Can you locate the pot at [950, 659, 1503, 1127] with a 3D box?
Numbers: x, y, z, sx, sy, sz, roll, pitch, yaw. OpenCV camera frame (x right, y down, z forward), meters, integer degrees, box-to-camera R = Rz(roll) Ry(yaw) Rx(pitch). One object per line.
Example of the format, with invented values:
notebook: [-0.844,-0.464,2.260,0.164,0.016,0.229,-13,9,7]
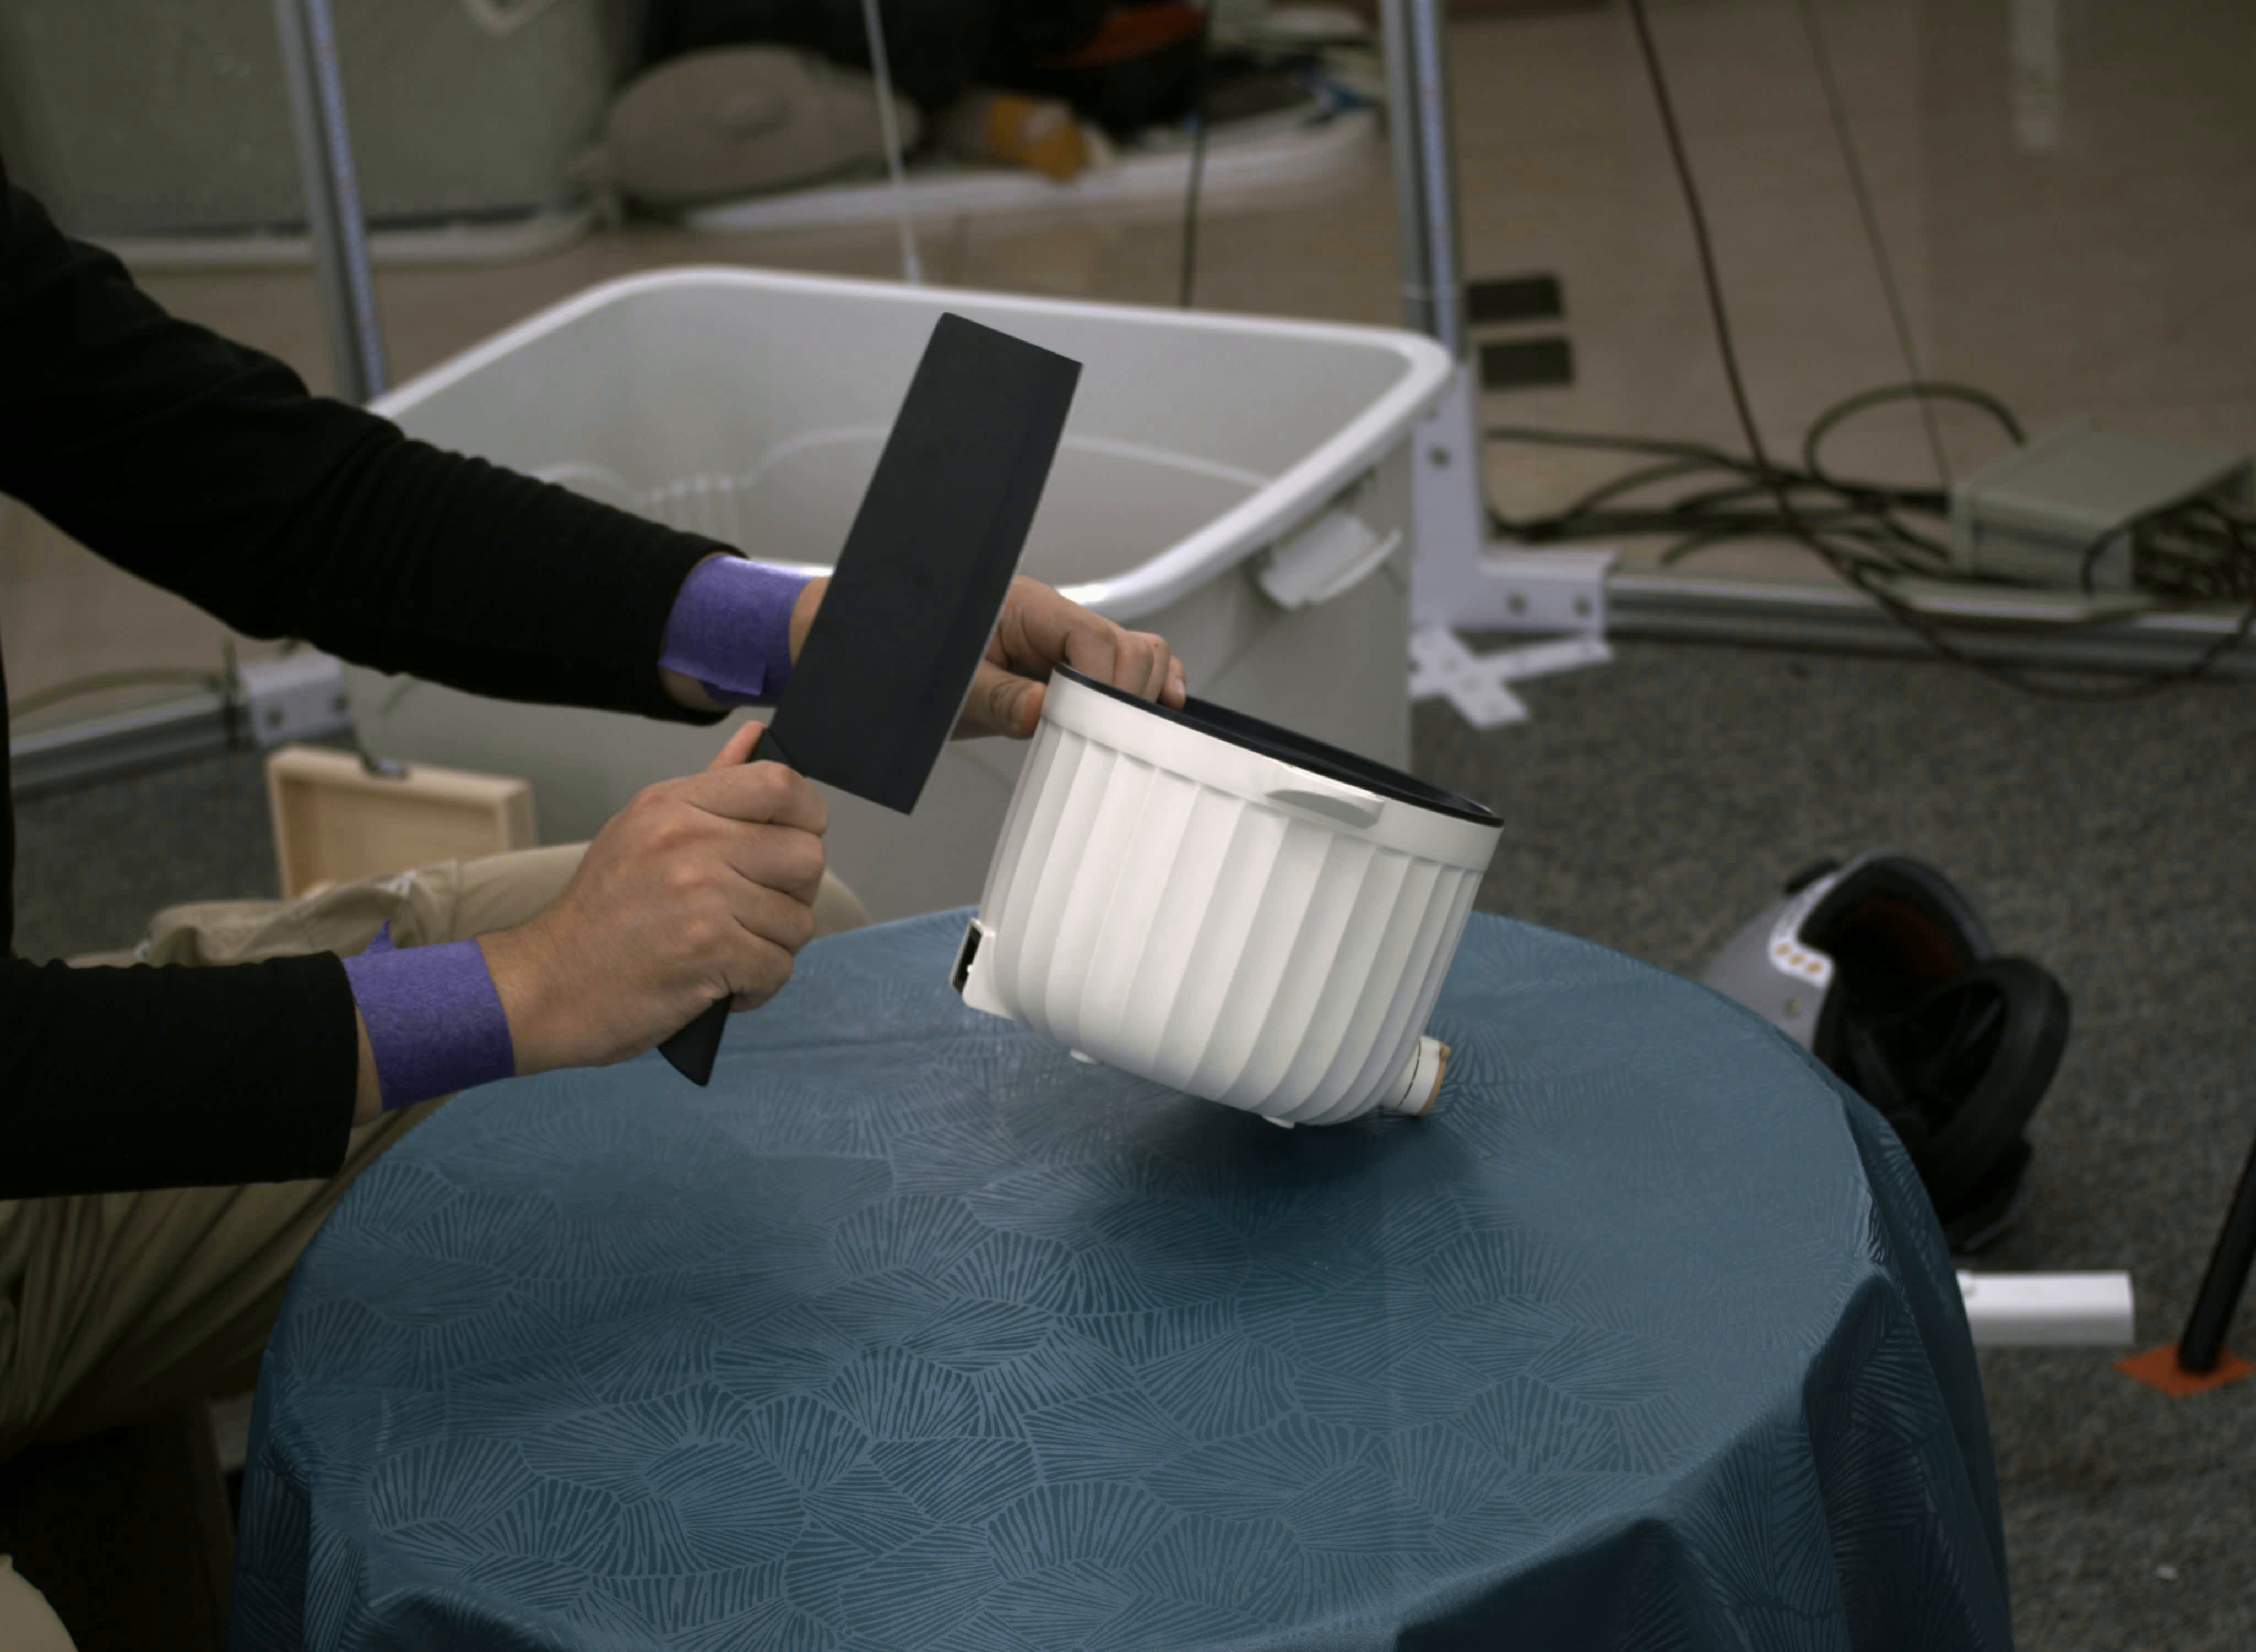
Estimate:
pot: [0.041,0.031,2.155,0.191,0.143,0.239,15,6,-13]

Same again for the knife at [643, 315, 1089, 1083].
knife: [-0.100,-0.044,2.092,0.080,0.303,0.021,28,2,17]
